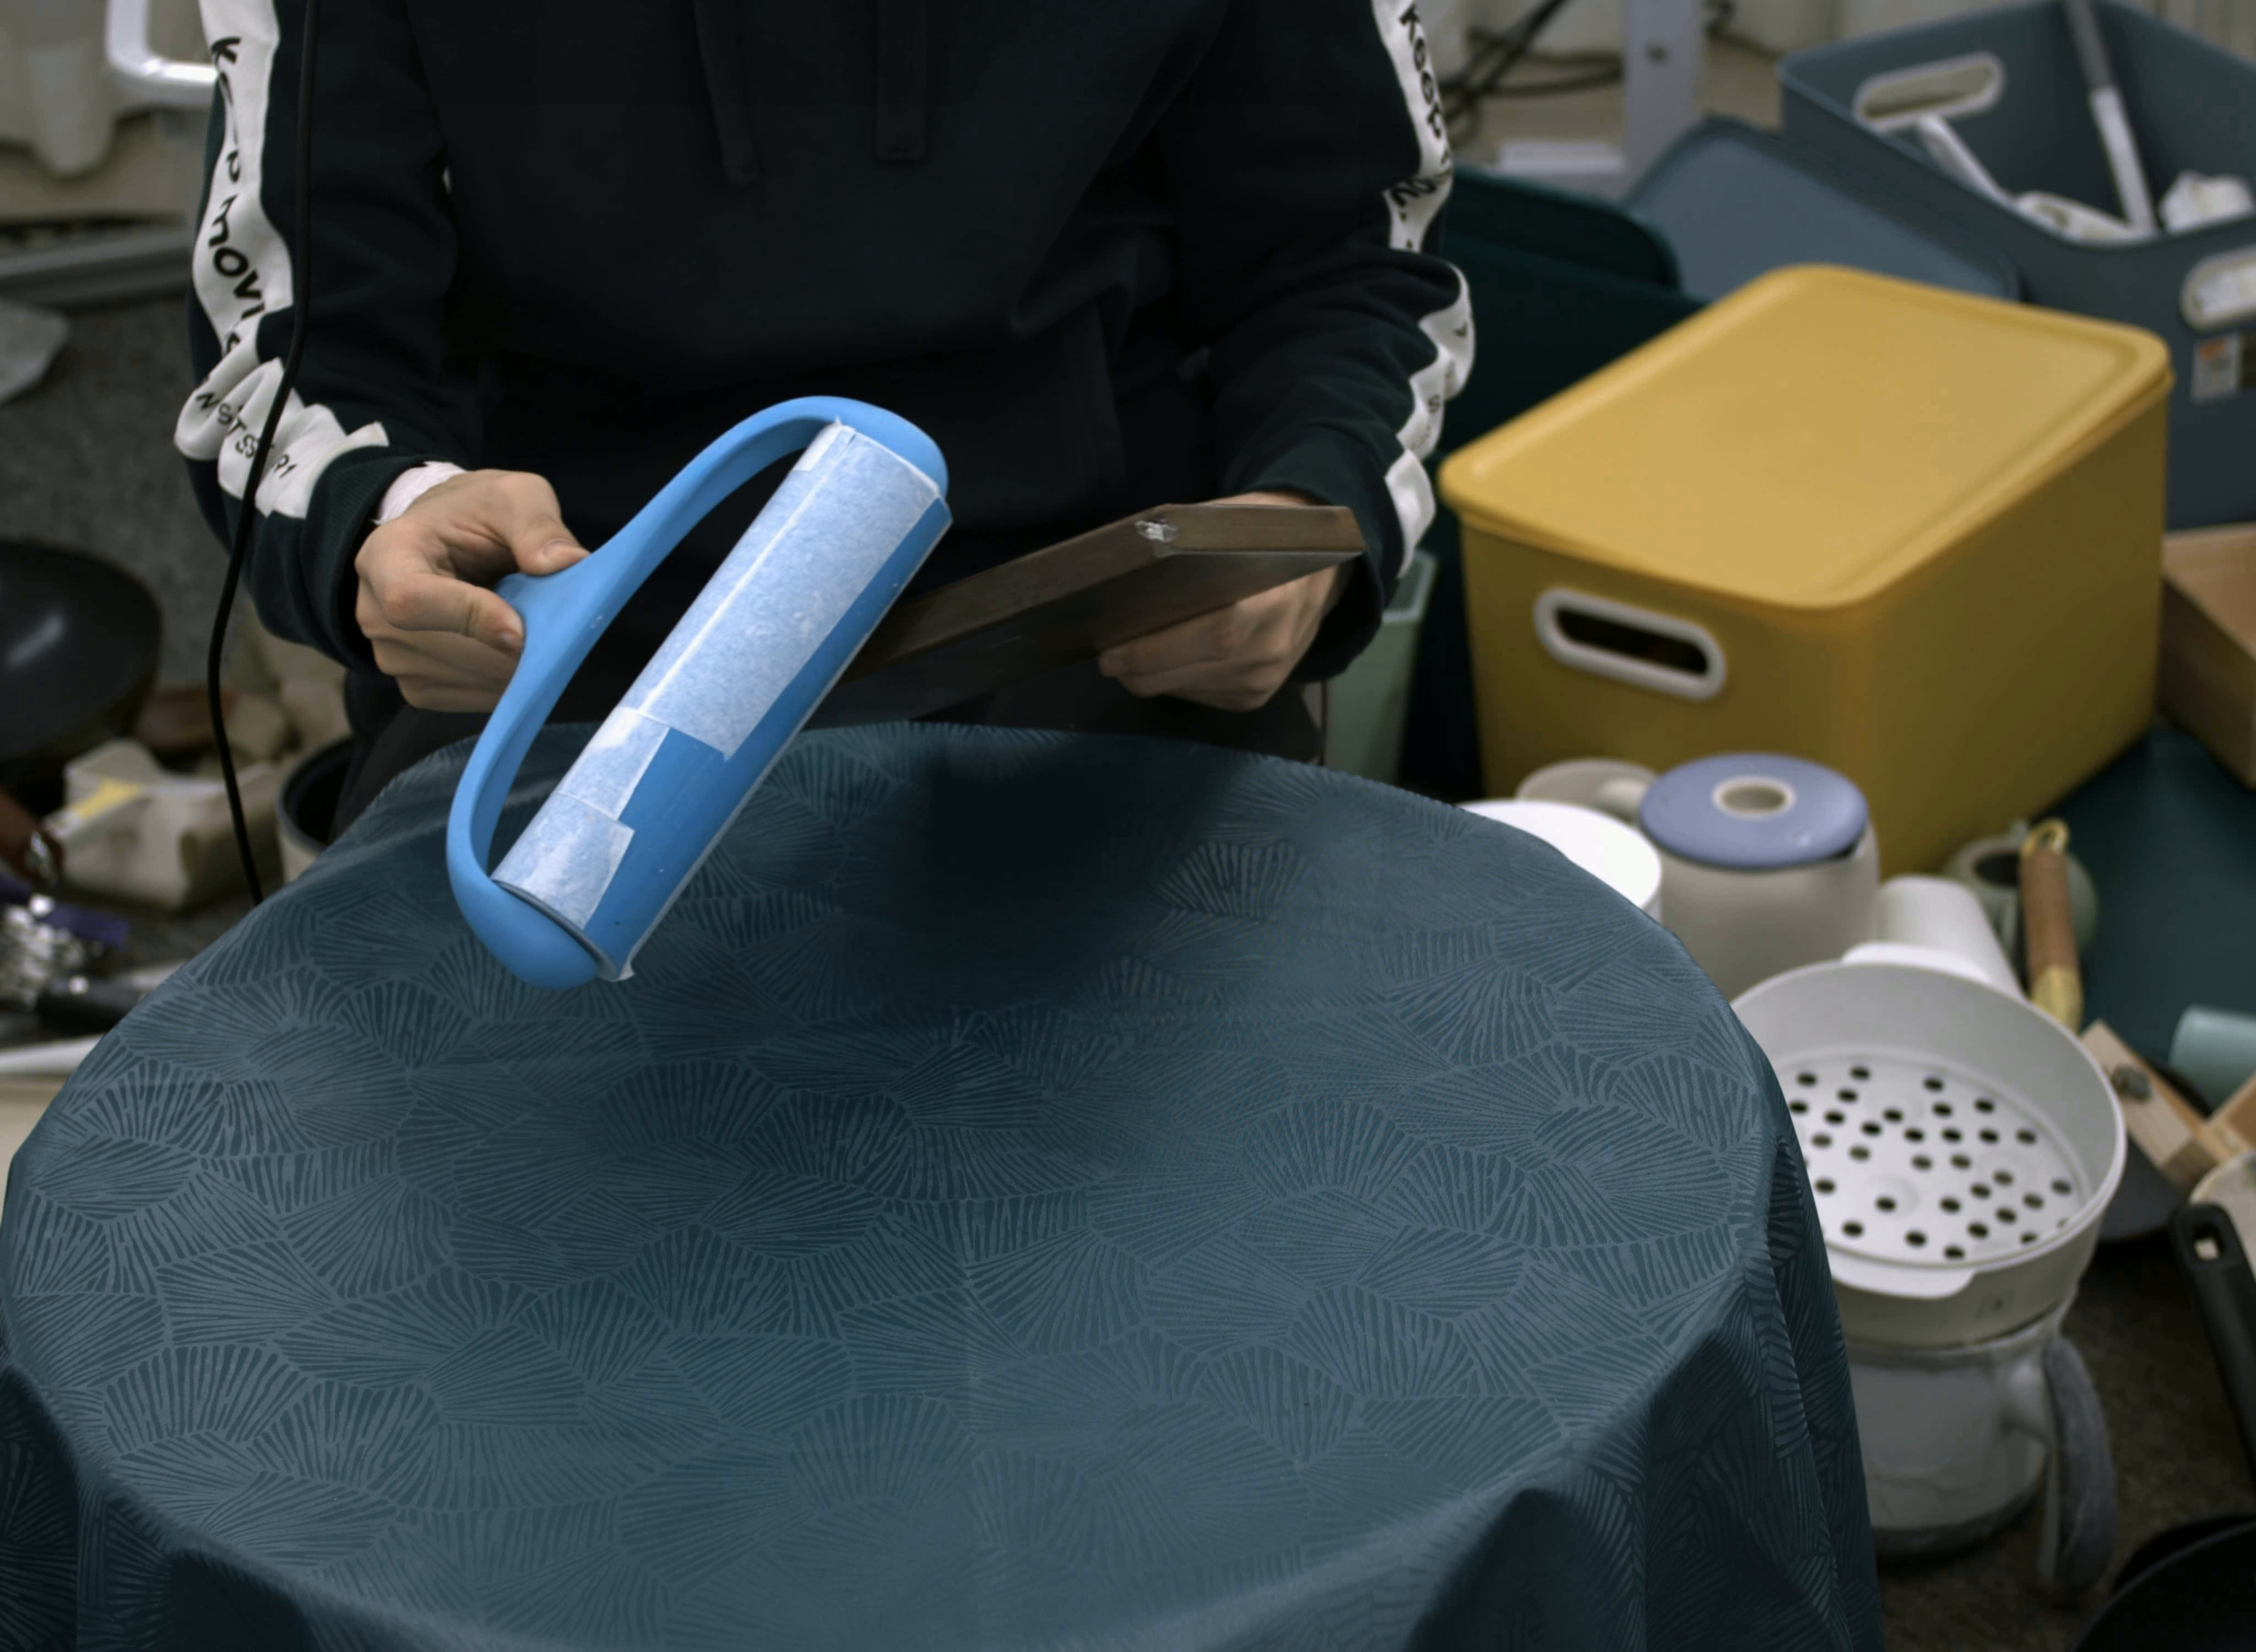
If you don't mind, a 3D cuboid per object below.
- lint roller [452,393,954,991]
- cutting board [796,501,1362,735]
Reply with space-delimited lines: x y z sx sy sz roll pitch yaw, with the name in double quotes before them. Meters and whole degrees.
"lint roller" -0.175 -0.055 1.886 0.179 0.067 0.232 16 66 42
"cutting board" -0.021 -0.074 2.043 0.199 0.023 0.353 -20 -3 15
